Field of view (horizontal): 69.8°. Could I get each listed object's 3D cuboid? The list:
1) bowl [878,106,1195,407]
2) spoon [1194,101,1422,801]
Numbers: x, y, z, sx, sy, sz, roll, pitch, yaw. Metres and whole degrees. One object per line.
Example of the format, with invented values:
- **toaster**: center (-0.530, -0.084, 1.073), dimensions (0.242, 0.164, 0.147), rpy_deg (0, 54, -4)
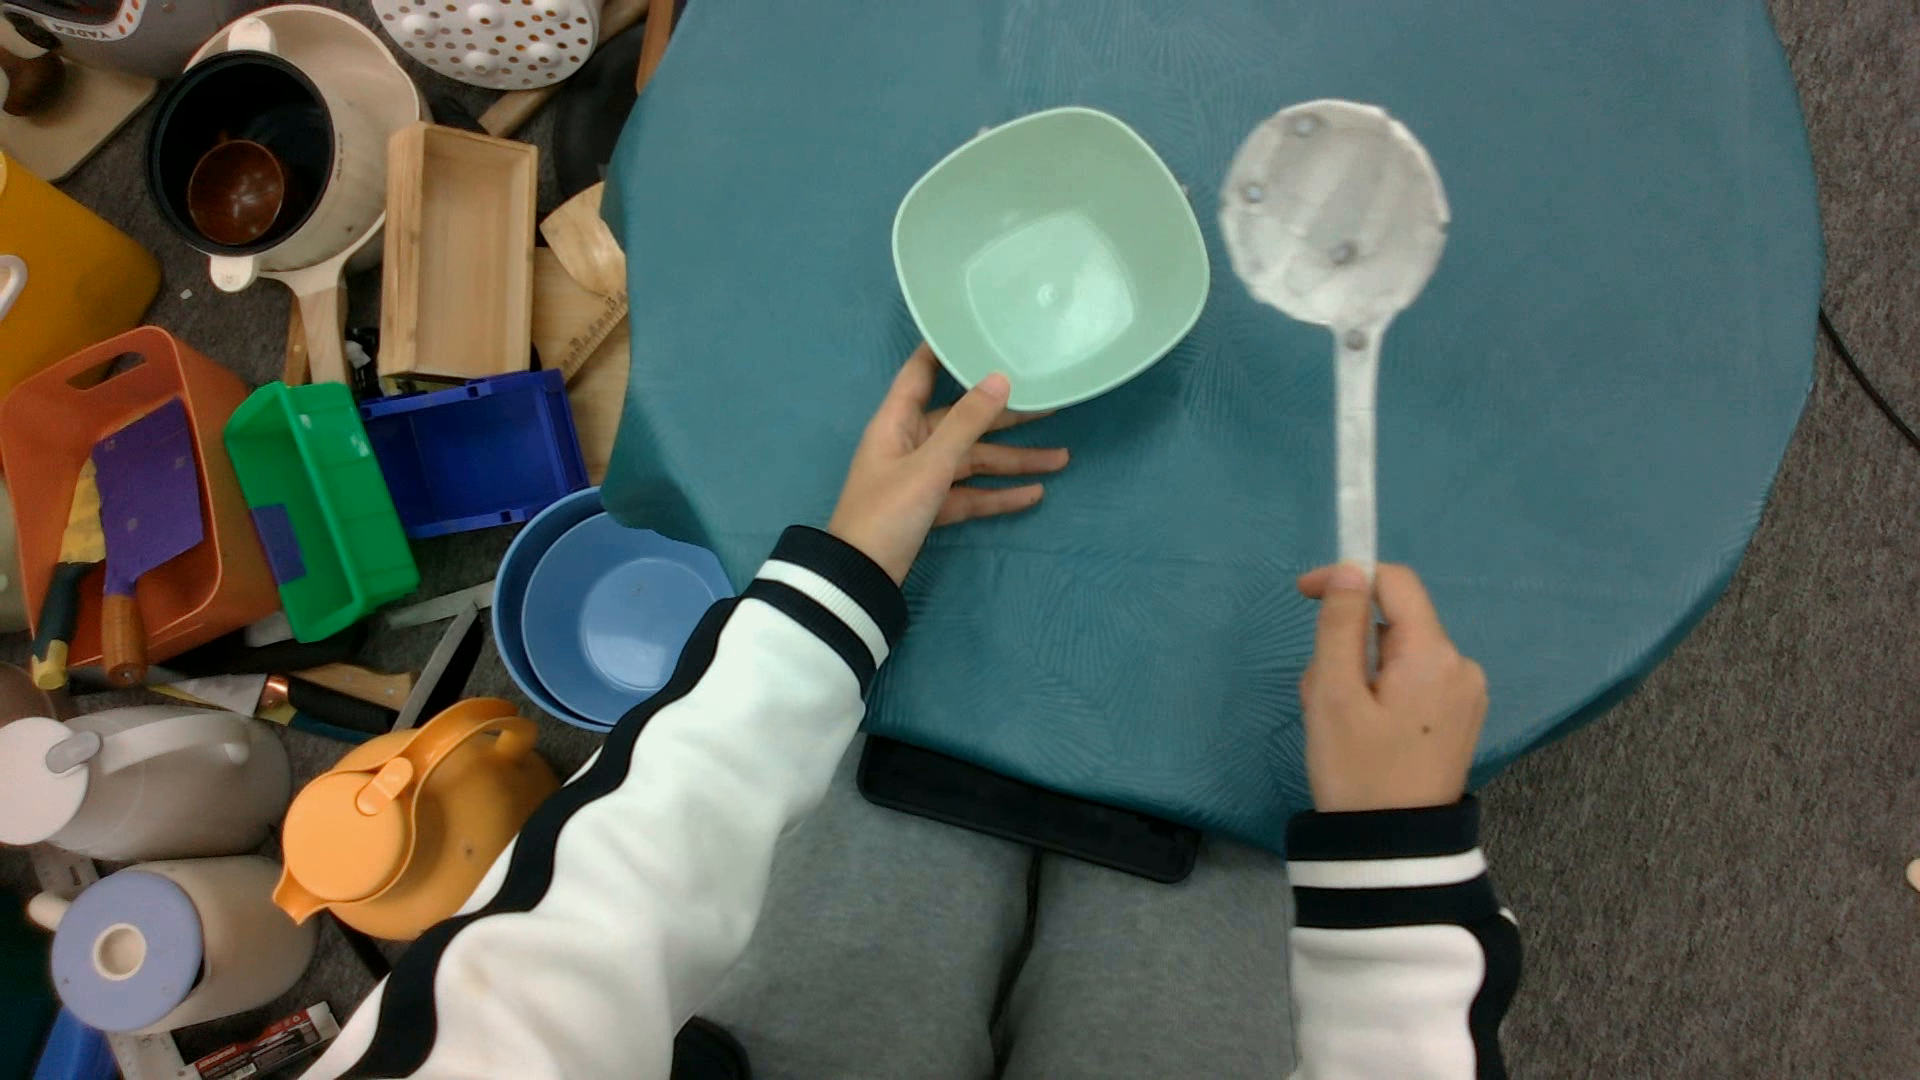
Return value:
- **bowl**: center (0.037, -0.130, 0.670), dimensions (0.151, 0.058, 0.151), rpy_deg (-1, 79, 3)
- **spoon**: center (0.137, -0.033, 0.557), dimensions (0.100, 0.059, 0.277), rpy_deg (0, 87, 48)
